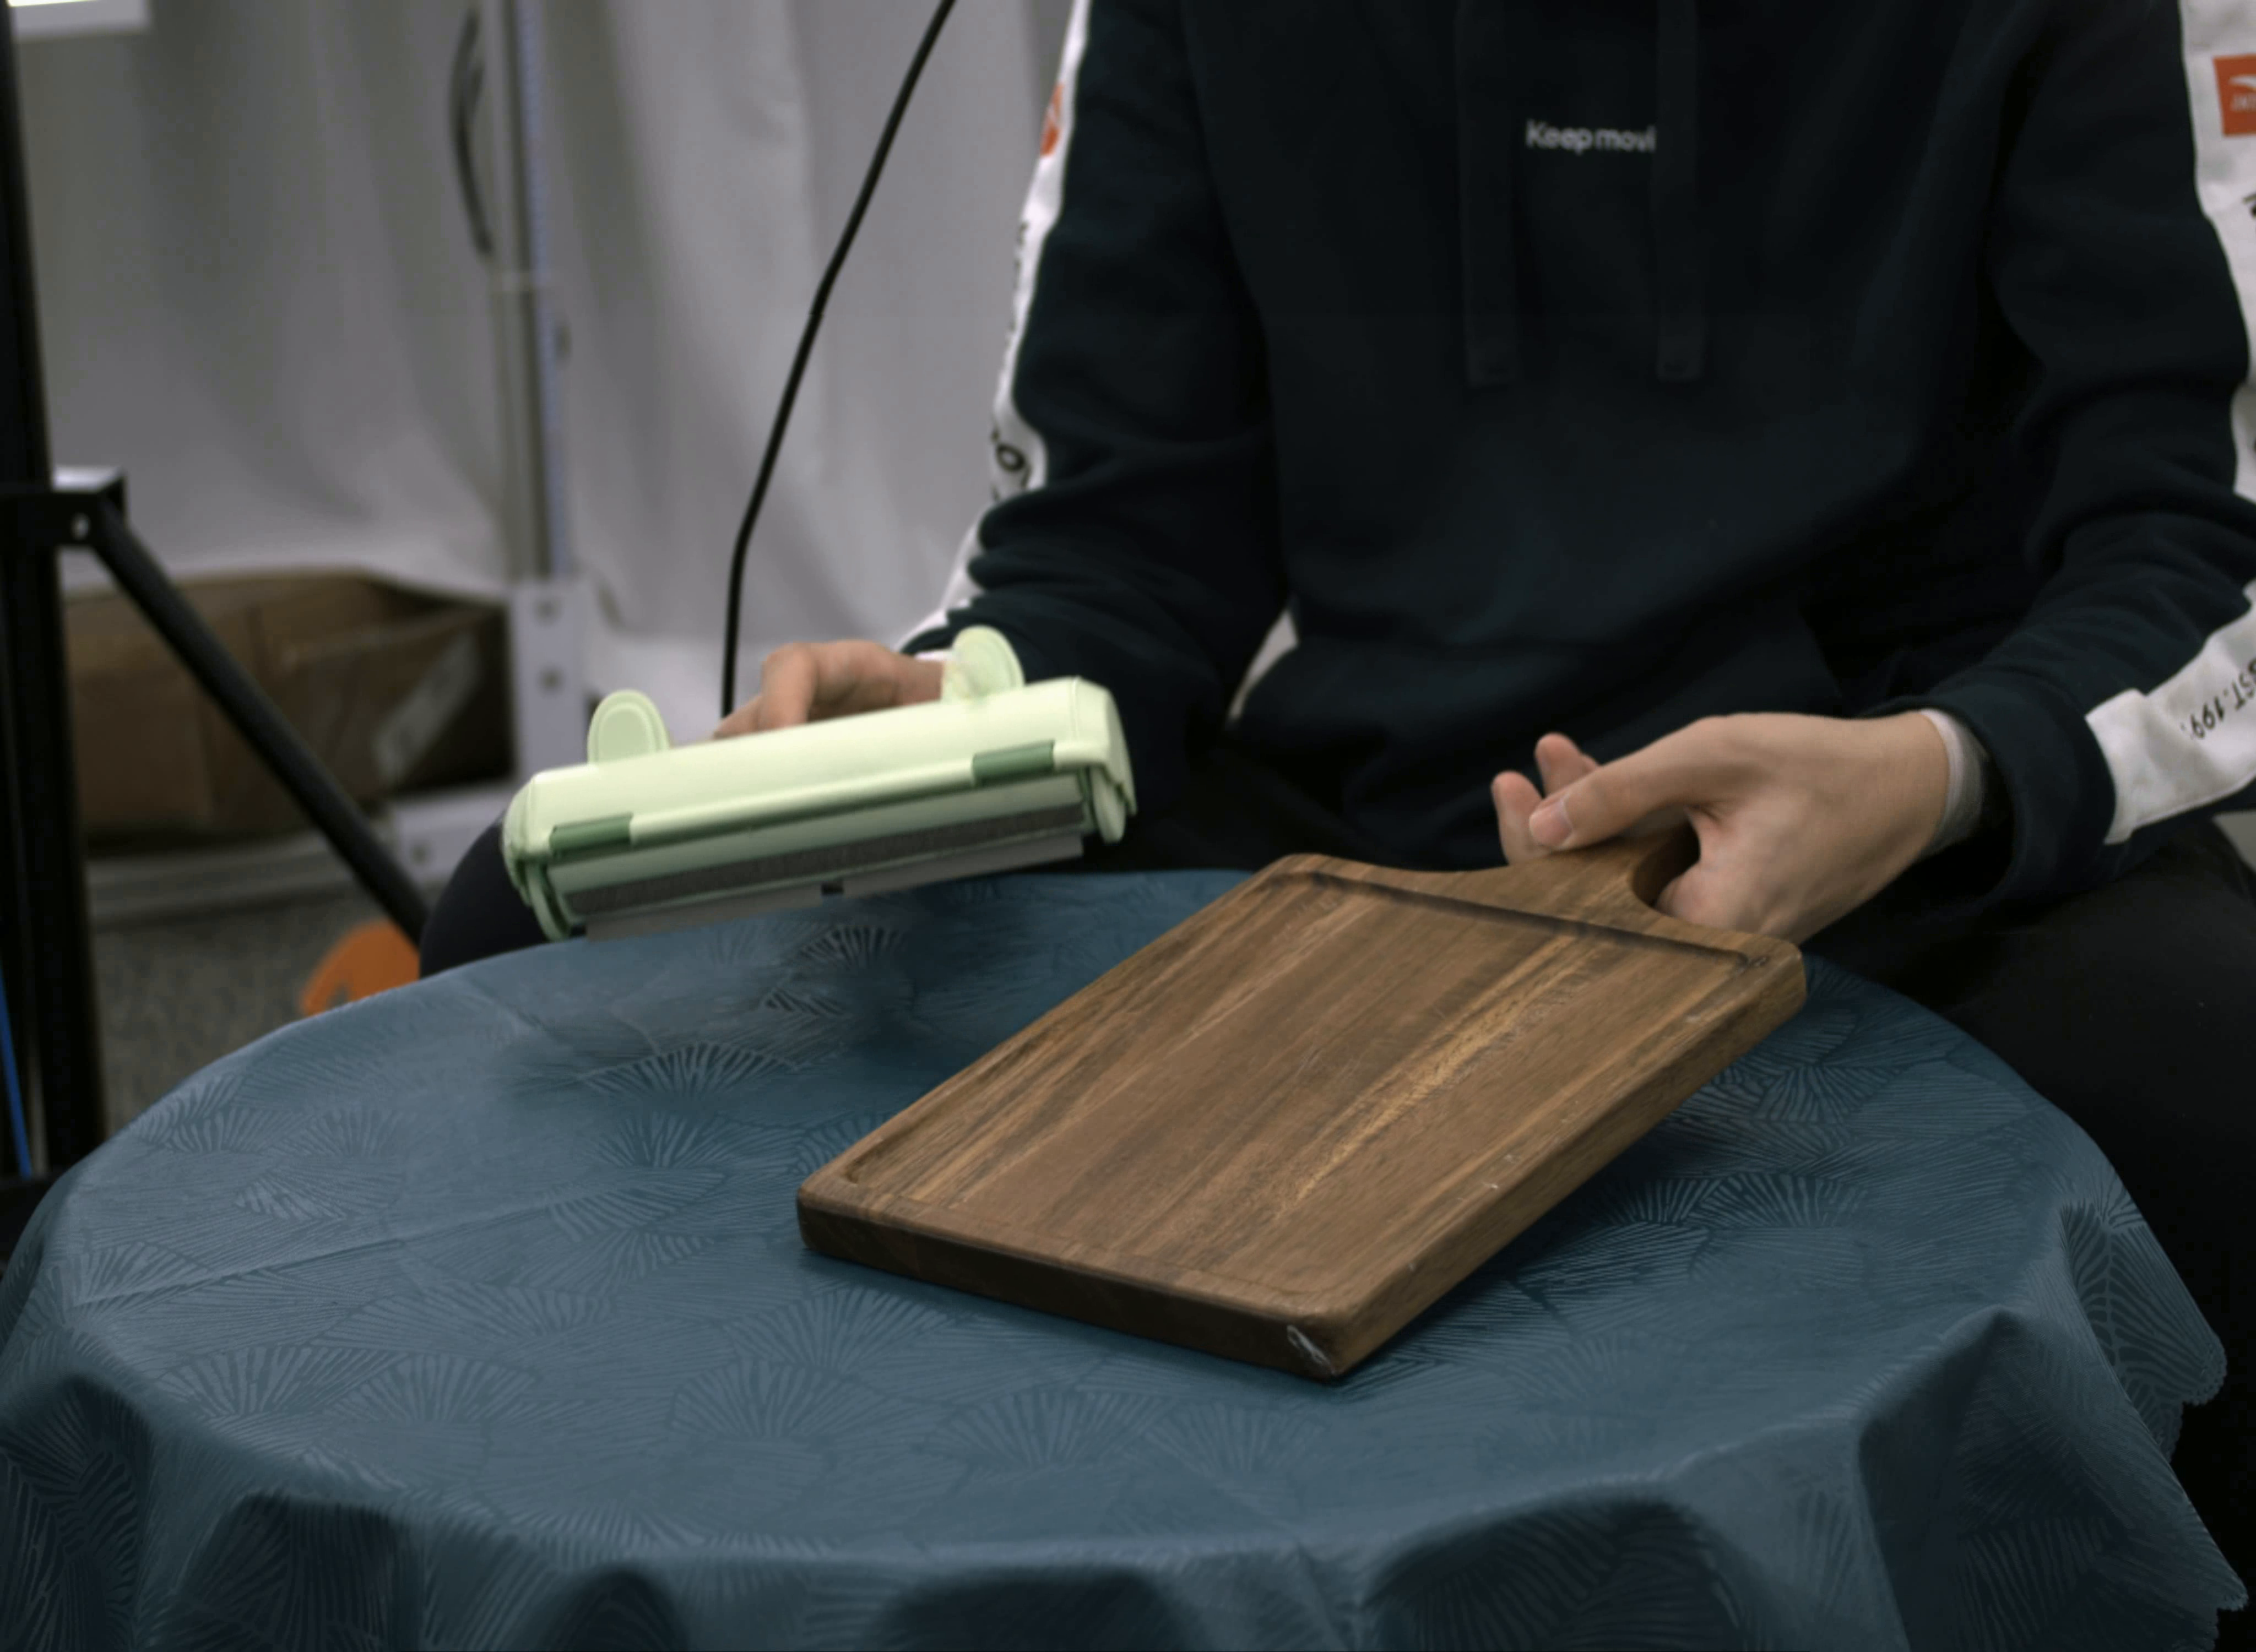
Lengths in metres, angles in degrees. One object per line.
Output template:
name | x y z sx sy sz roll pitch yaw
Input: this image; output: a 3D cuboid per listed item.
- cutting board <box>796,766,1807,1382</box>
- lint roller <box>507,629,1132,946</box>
cutting board | 0.082 0.059 1.577 0.205 0.023 0.346 10 30 38
lint roller | -0.096 -0.023 1.751 0.199 0.082 0.183 -11 12 8
